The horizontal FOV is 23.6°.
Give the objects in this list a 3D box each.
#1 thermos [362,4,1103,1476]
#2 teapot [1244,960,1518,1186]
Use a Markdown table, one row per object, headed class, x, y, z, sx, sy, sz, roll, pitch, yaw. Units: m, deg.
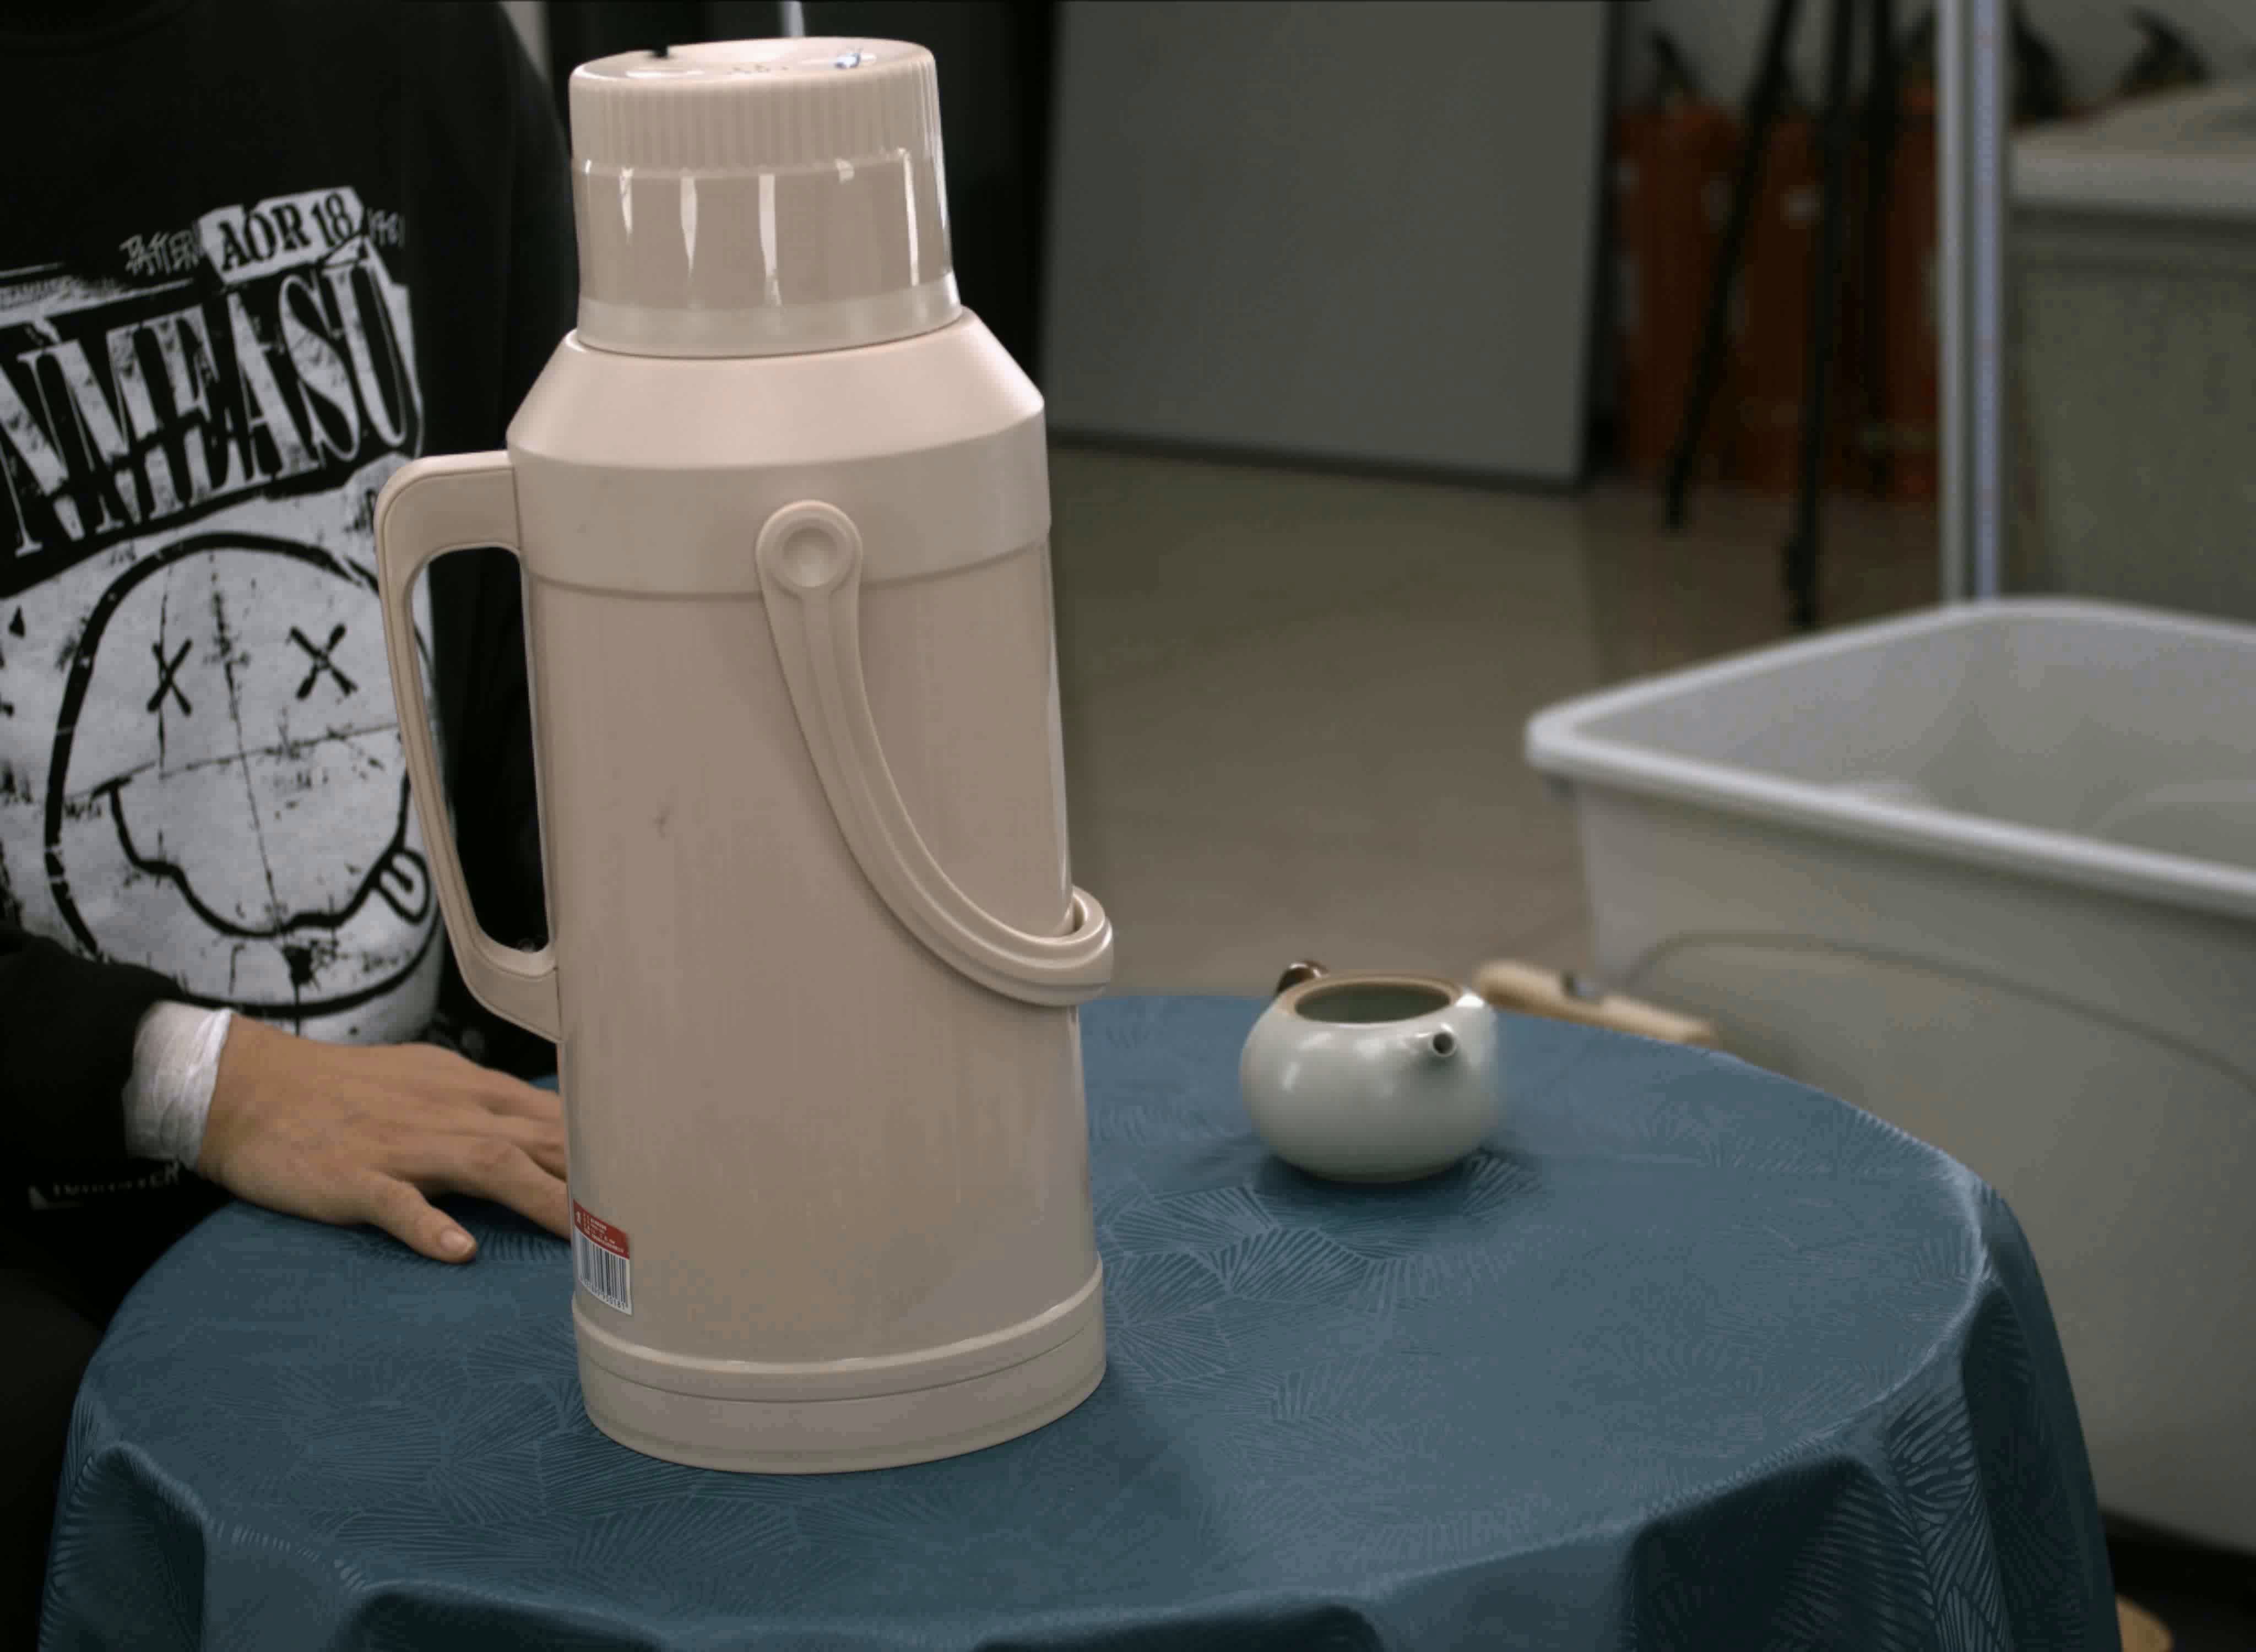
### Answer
| class | x | y | z | sx | sy | sz | roll | pitch | yaw |
| --- | --- | --- | --- | --- | --- | --- | --- | --- | --- |
| thermos | -0.113 | -0.026 | 1.571 | 0.203 | 0.411 | 0.176 | -5 | 15 | -8 |
| teapot | 0.080 | 0.080 | 1.790 | 0.090 | 0.060 | 0.129 | -14 | 17 | -22 |
